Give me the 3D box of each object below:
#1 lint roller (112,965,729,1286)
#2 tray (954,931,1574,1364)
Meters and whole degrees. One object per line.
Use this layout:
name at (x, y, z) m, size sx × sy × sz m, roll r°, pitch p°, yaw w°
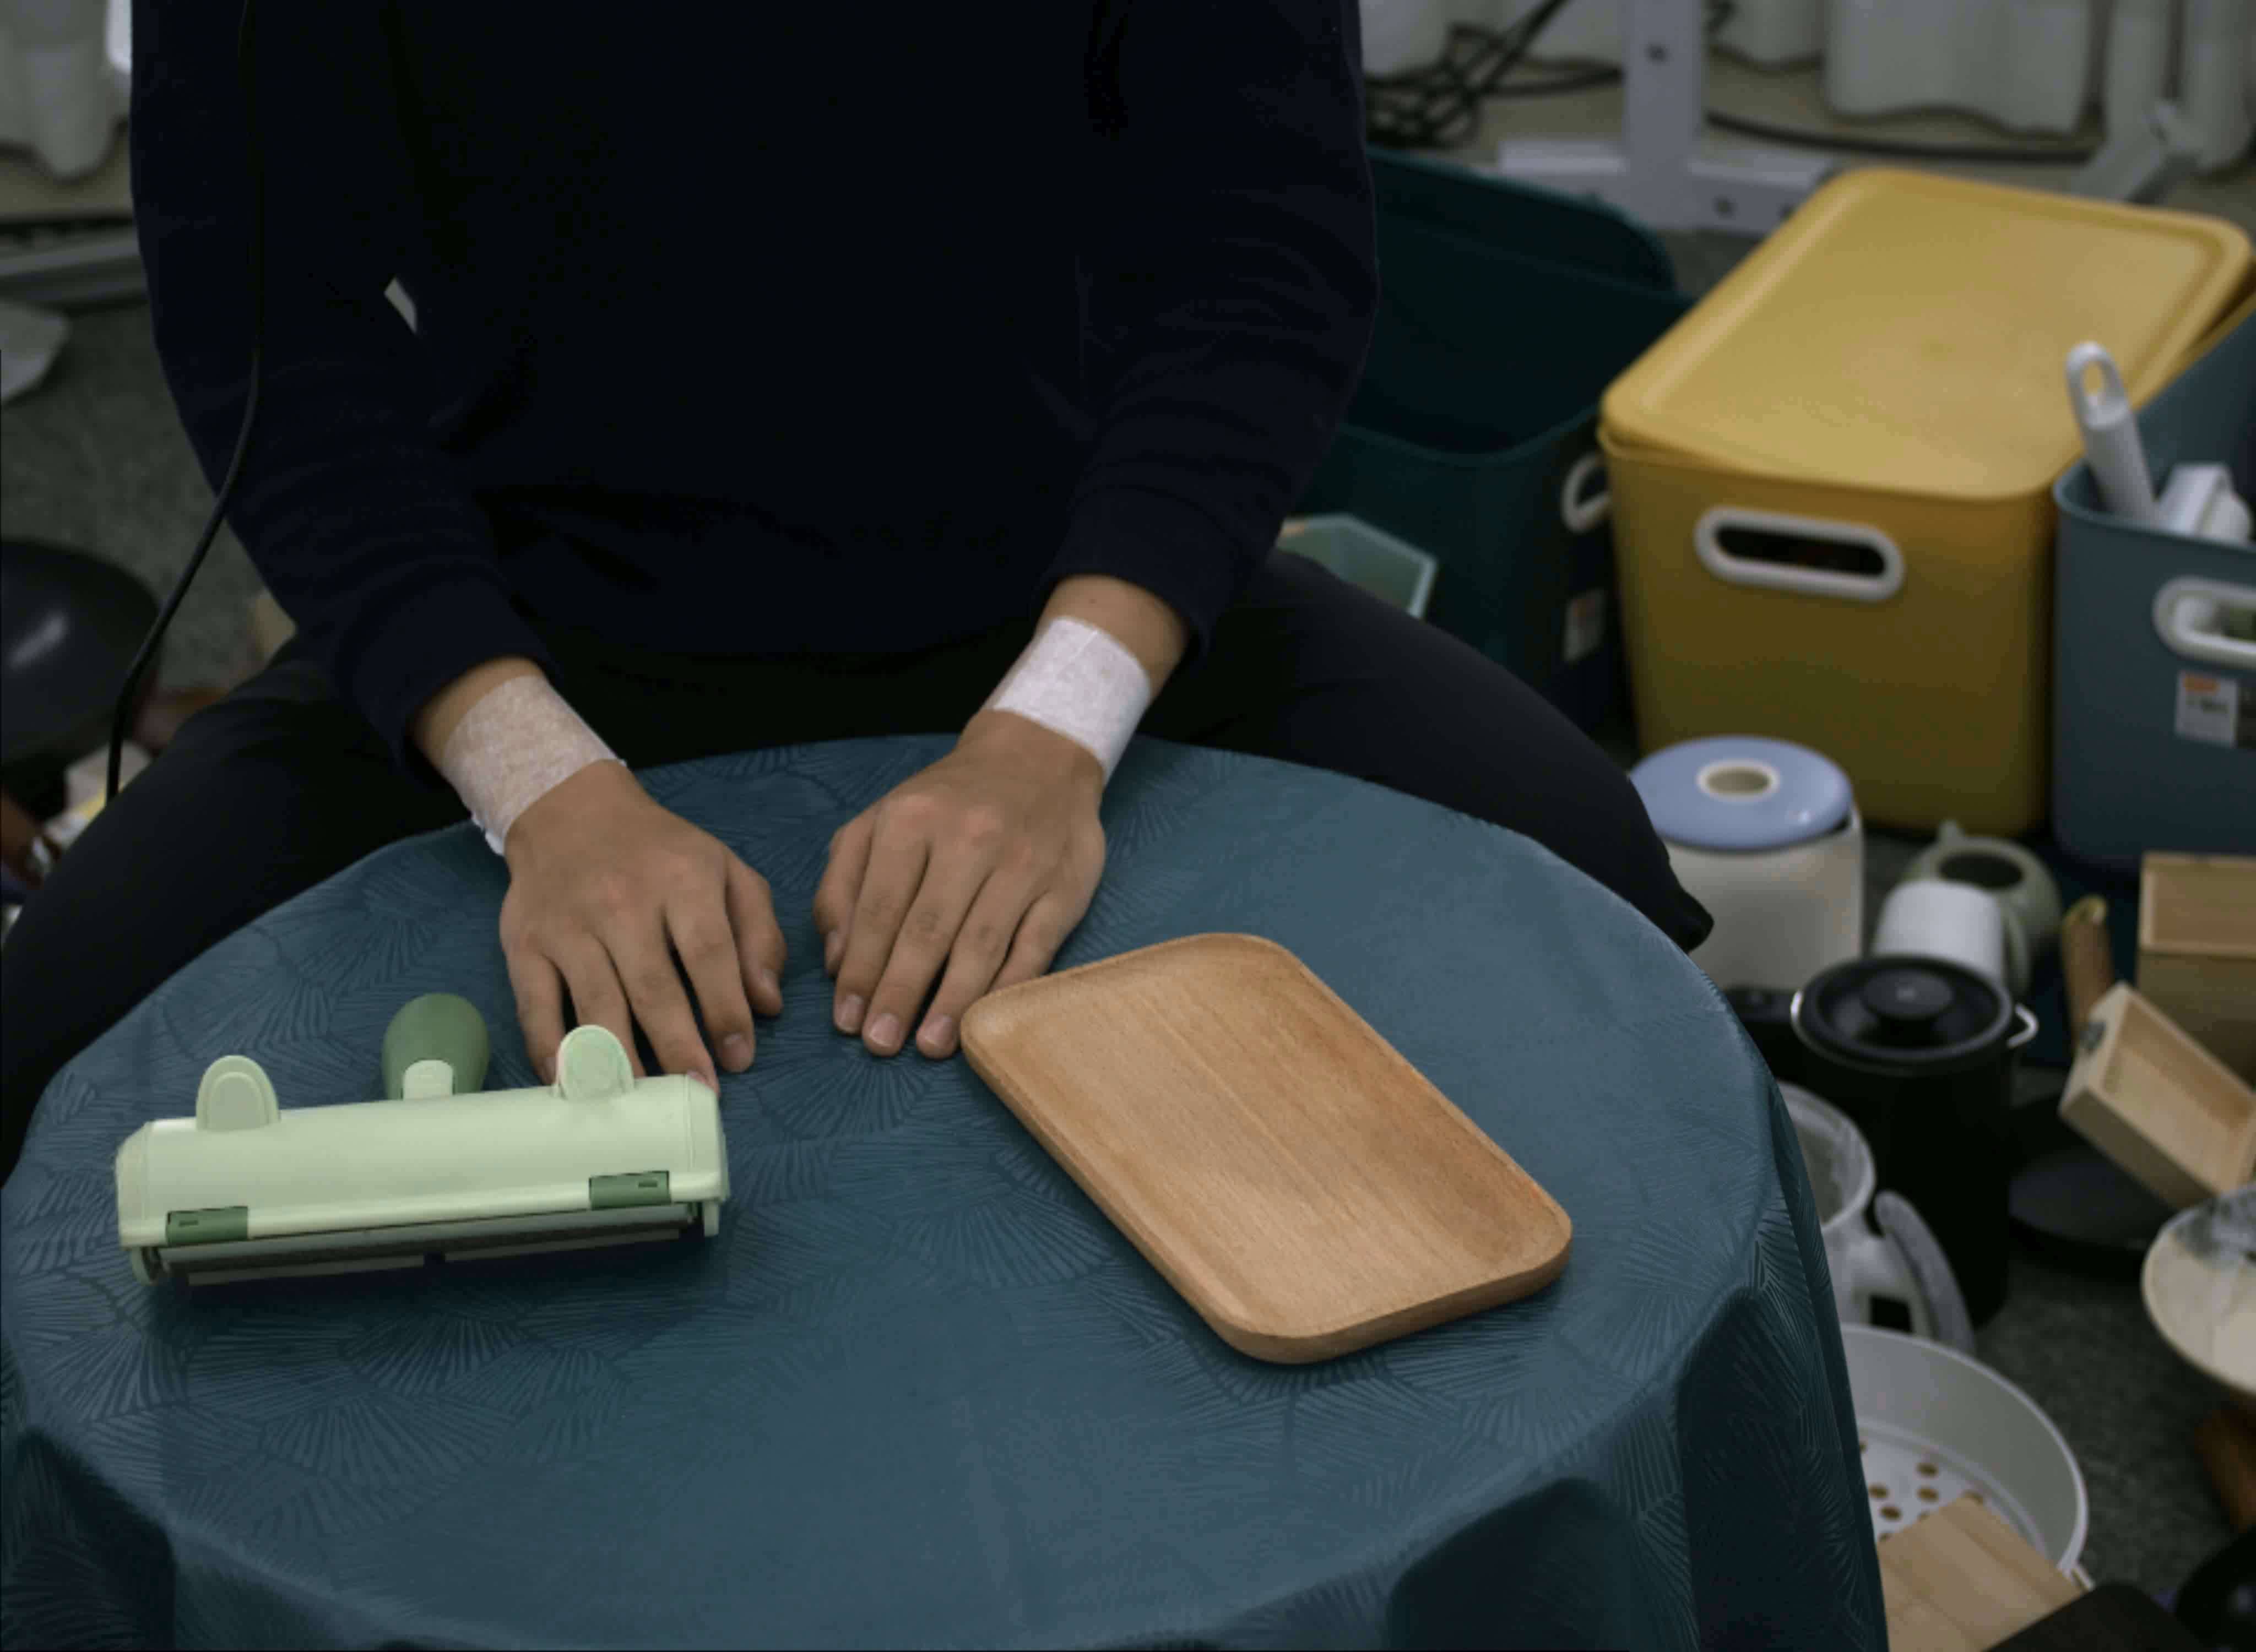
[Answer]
lint roller at (-0.236, 0.078, 1.875) m, size 0.198 × 0.081 × 0.186 m, roll -5°, pitch 33°, yaw -5°
tray at (0.041, 0.104, 1.874) m, size 0.131 × 0.022 × 0.252 m, roll -13°, pitch 28°, yaw -22°
